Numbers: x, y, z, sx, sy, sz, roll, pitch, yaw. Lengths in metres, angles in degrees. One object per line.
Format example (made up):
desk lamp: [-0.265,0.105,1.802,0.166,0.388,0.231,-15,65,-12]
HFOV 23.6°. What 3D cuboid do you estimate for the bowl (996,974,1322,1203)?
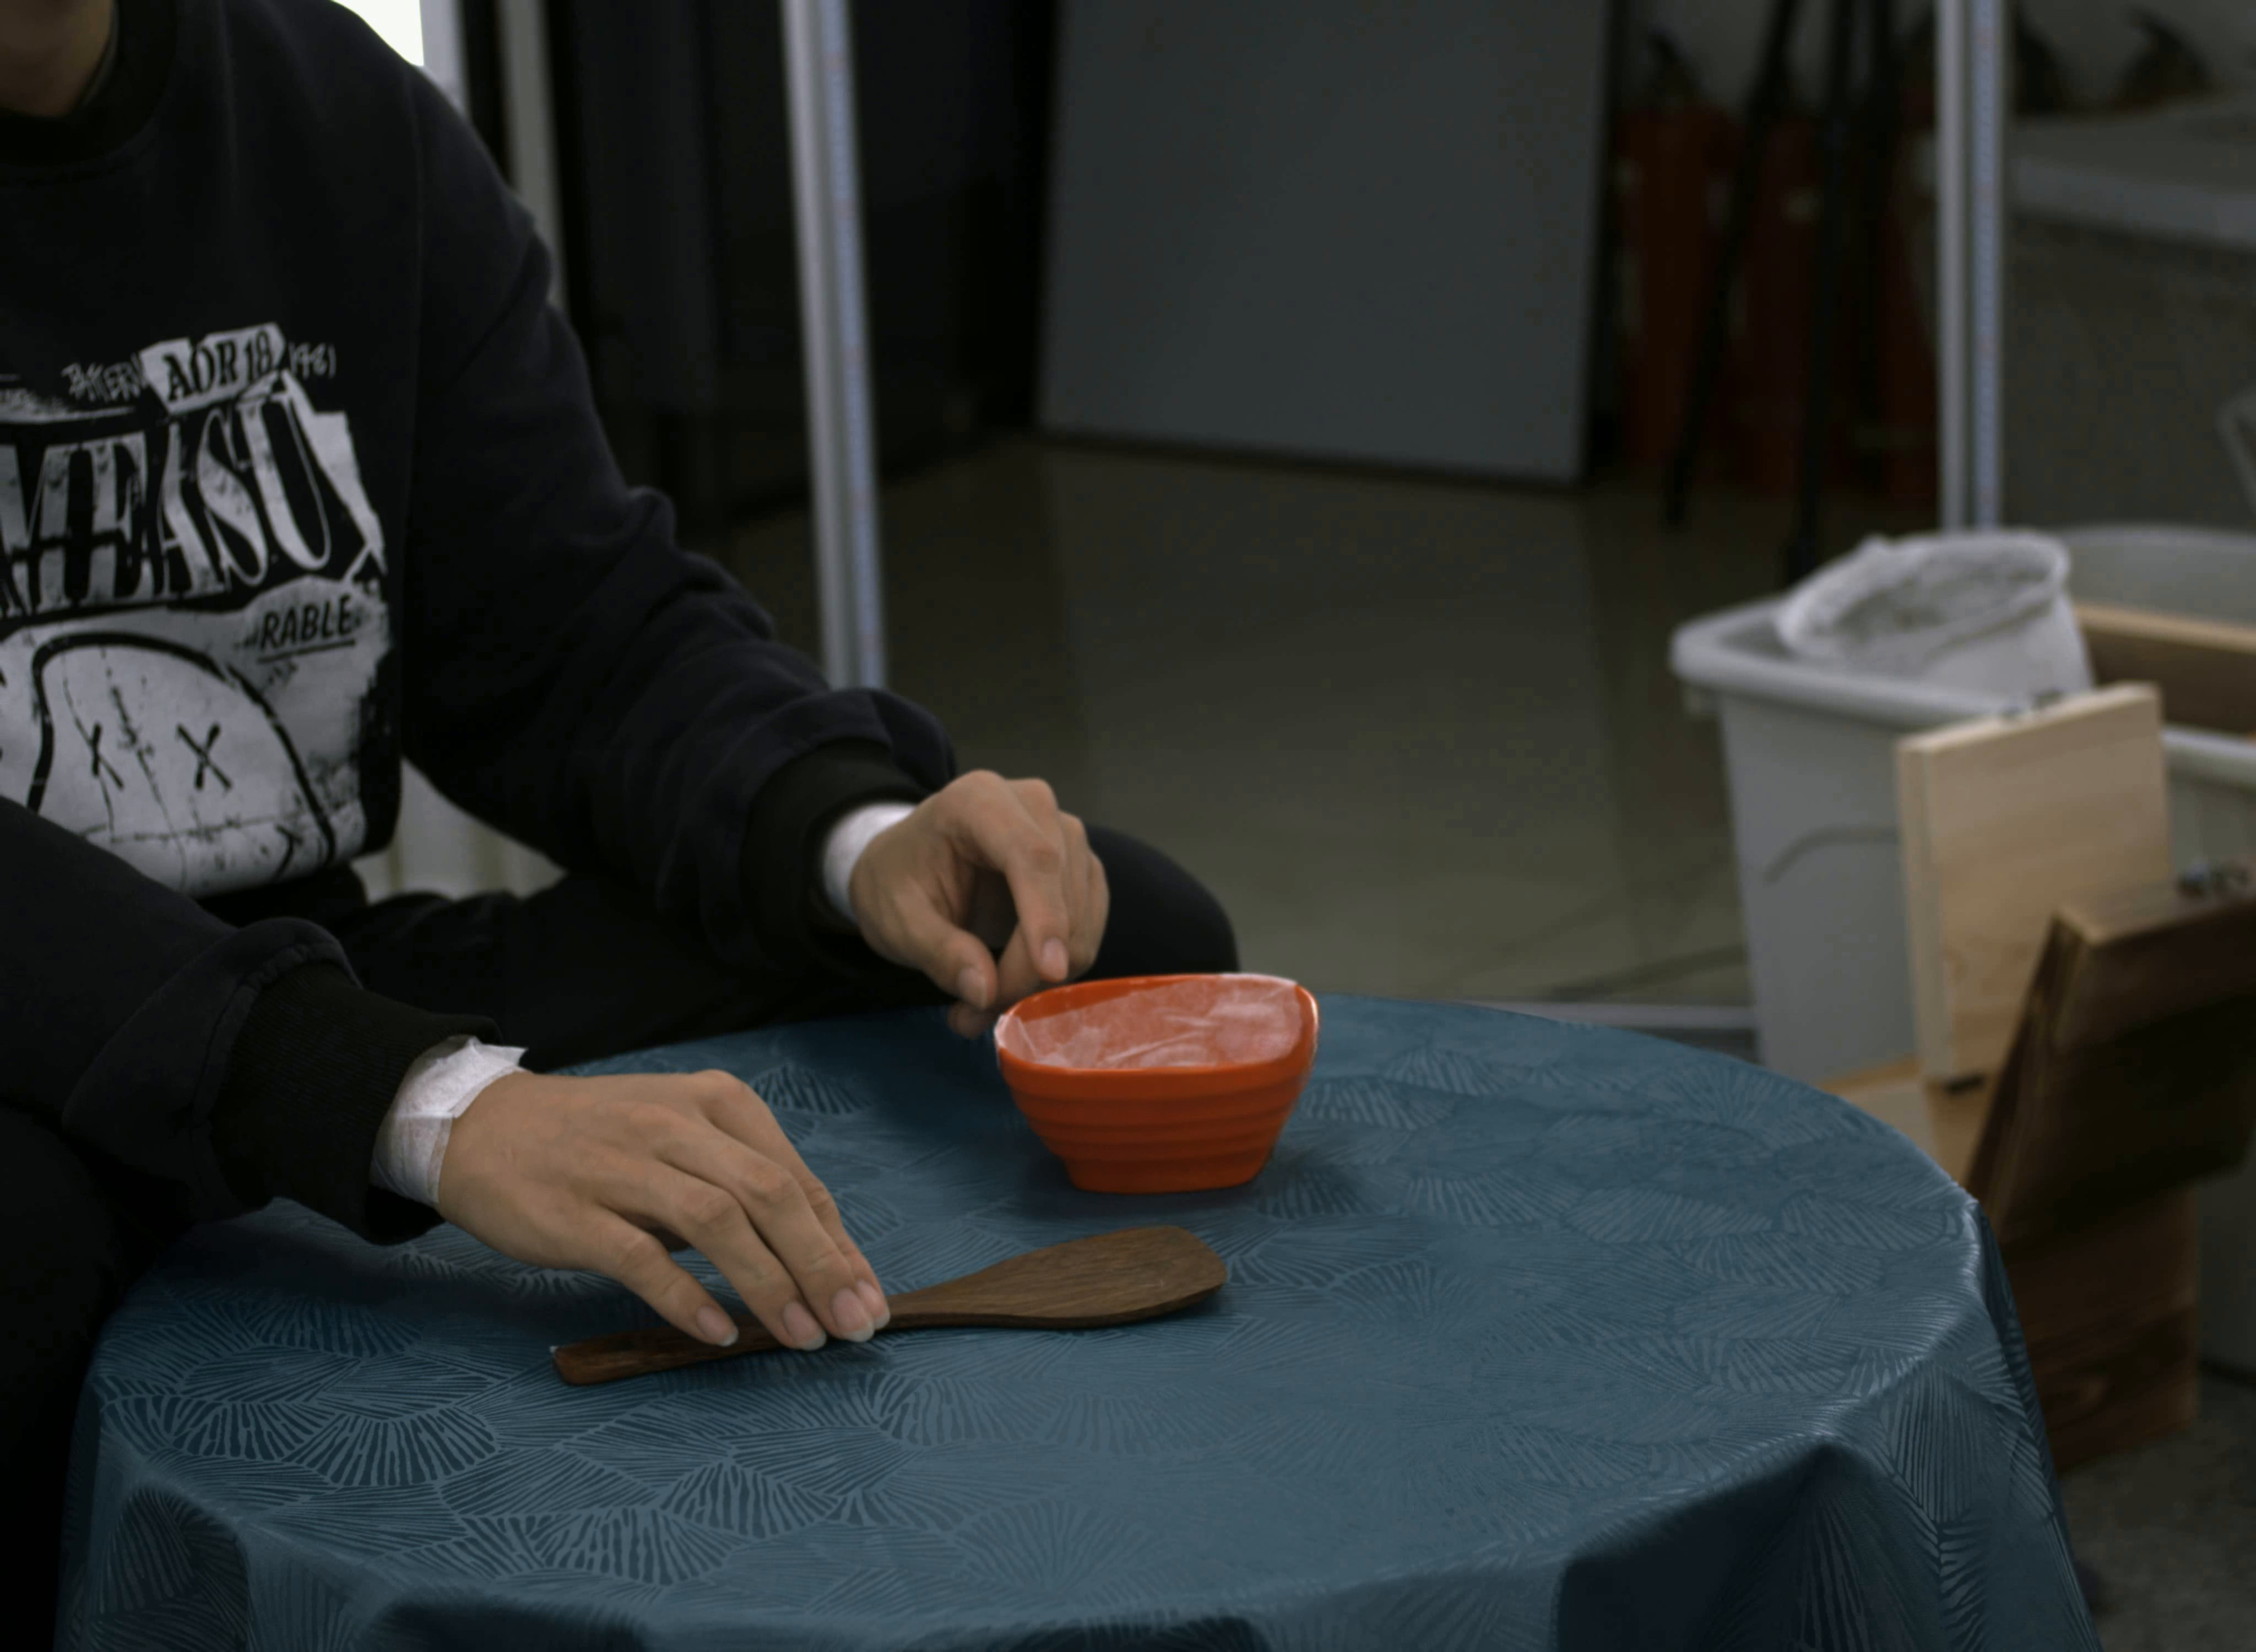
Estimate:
bowl: [0.012,0.090,1.792,0.117,0.052,0.119,-4,15,0]

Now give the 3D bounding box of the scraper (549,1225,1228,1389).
scraper: [-0.074,0.151,1.657,0.207,0.011,0.076,-8,13,-14]
